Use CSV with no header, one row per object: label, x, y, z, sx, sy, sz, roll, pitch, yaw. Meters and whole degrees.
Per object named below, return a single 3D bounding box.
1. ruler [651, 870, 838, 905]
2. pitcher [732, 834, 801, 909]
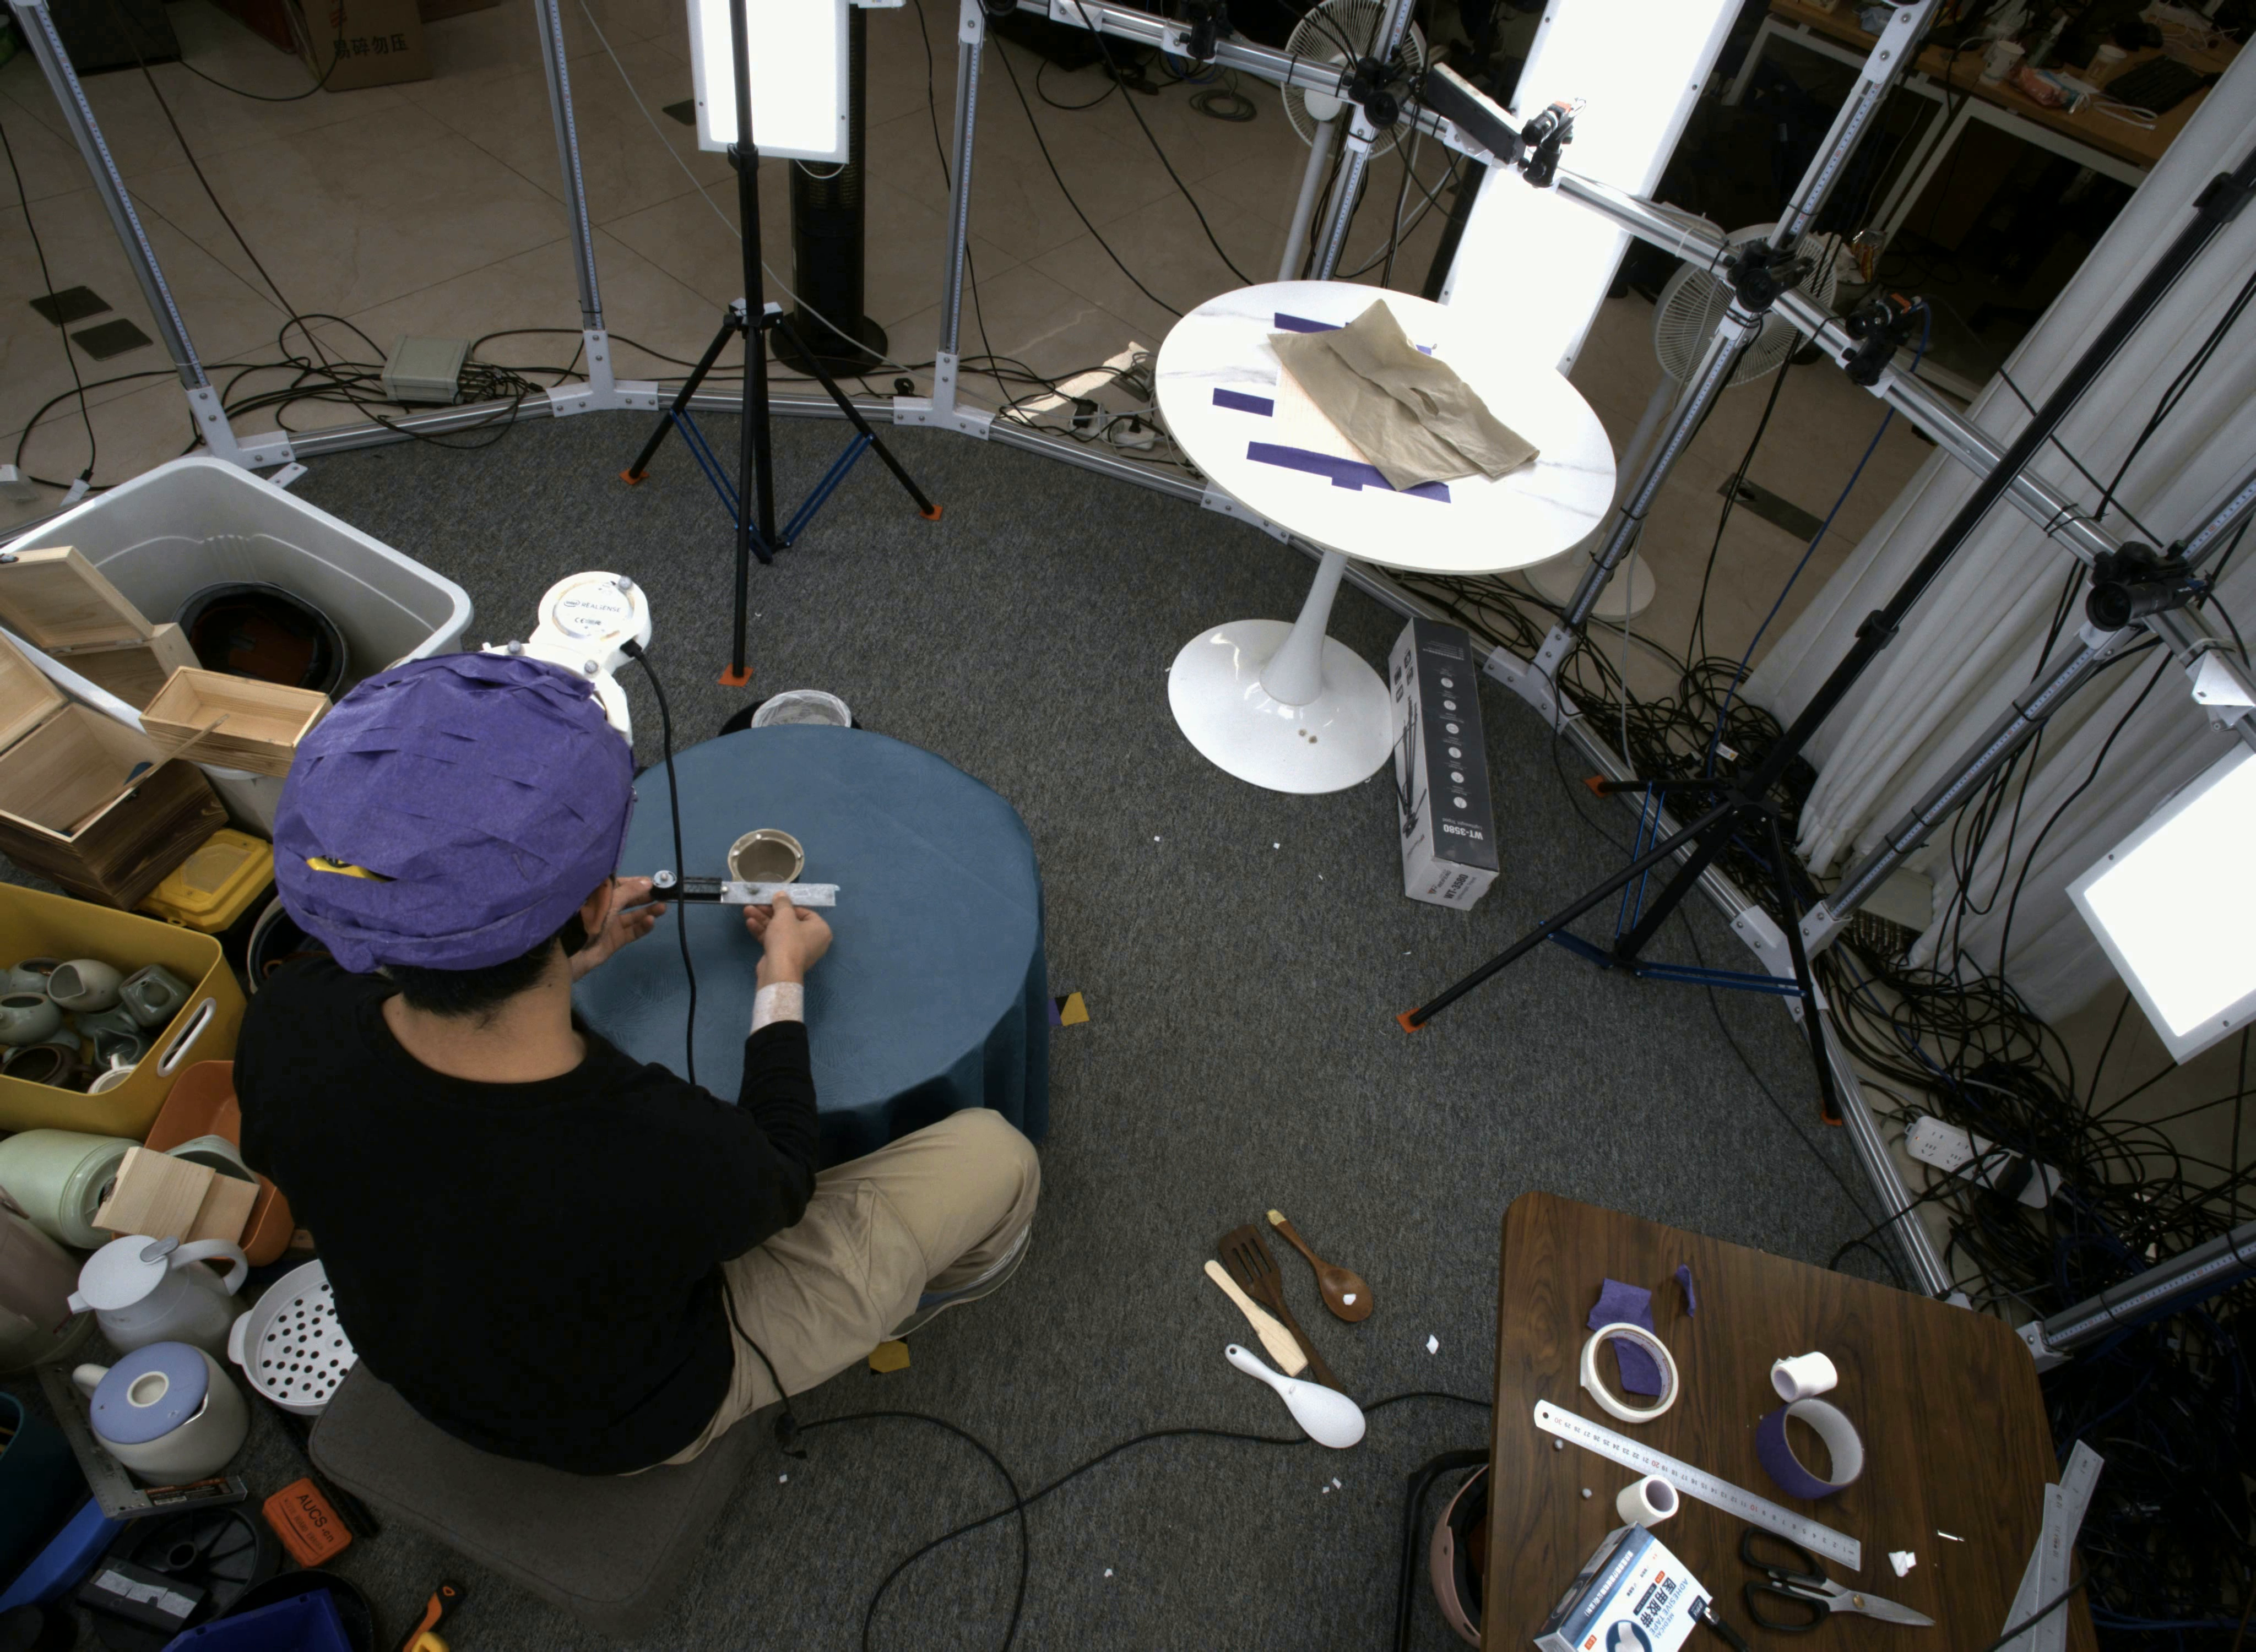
ruler,-0.455,0.072,1.539,0.219,0.024,0.037,2,52,-19
pitcher,-0.454,0.063,1.616,0.082,0.073,0.096,32,51,11
